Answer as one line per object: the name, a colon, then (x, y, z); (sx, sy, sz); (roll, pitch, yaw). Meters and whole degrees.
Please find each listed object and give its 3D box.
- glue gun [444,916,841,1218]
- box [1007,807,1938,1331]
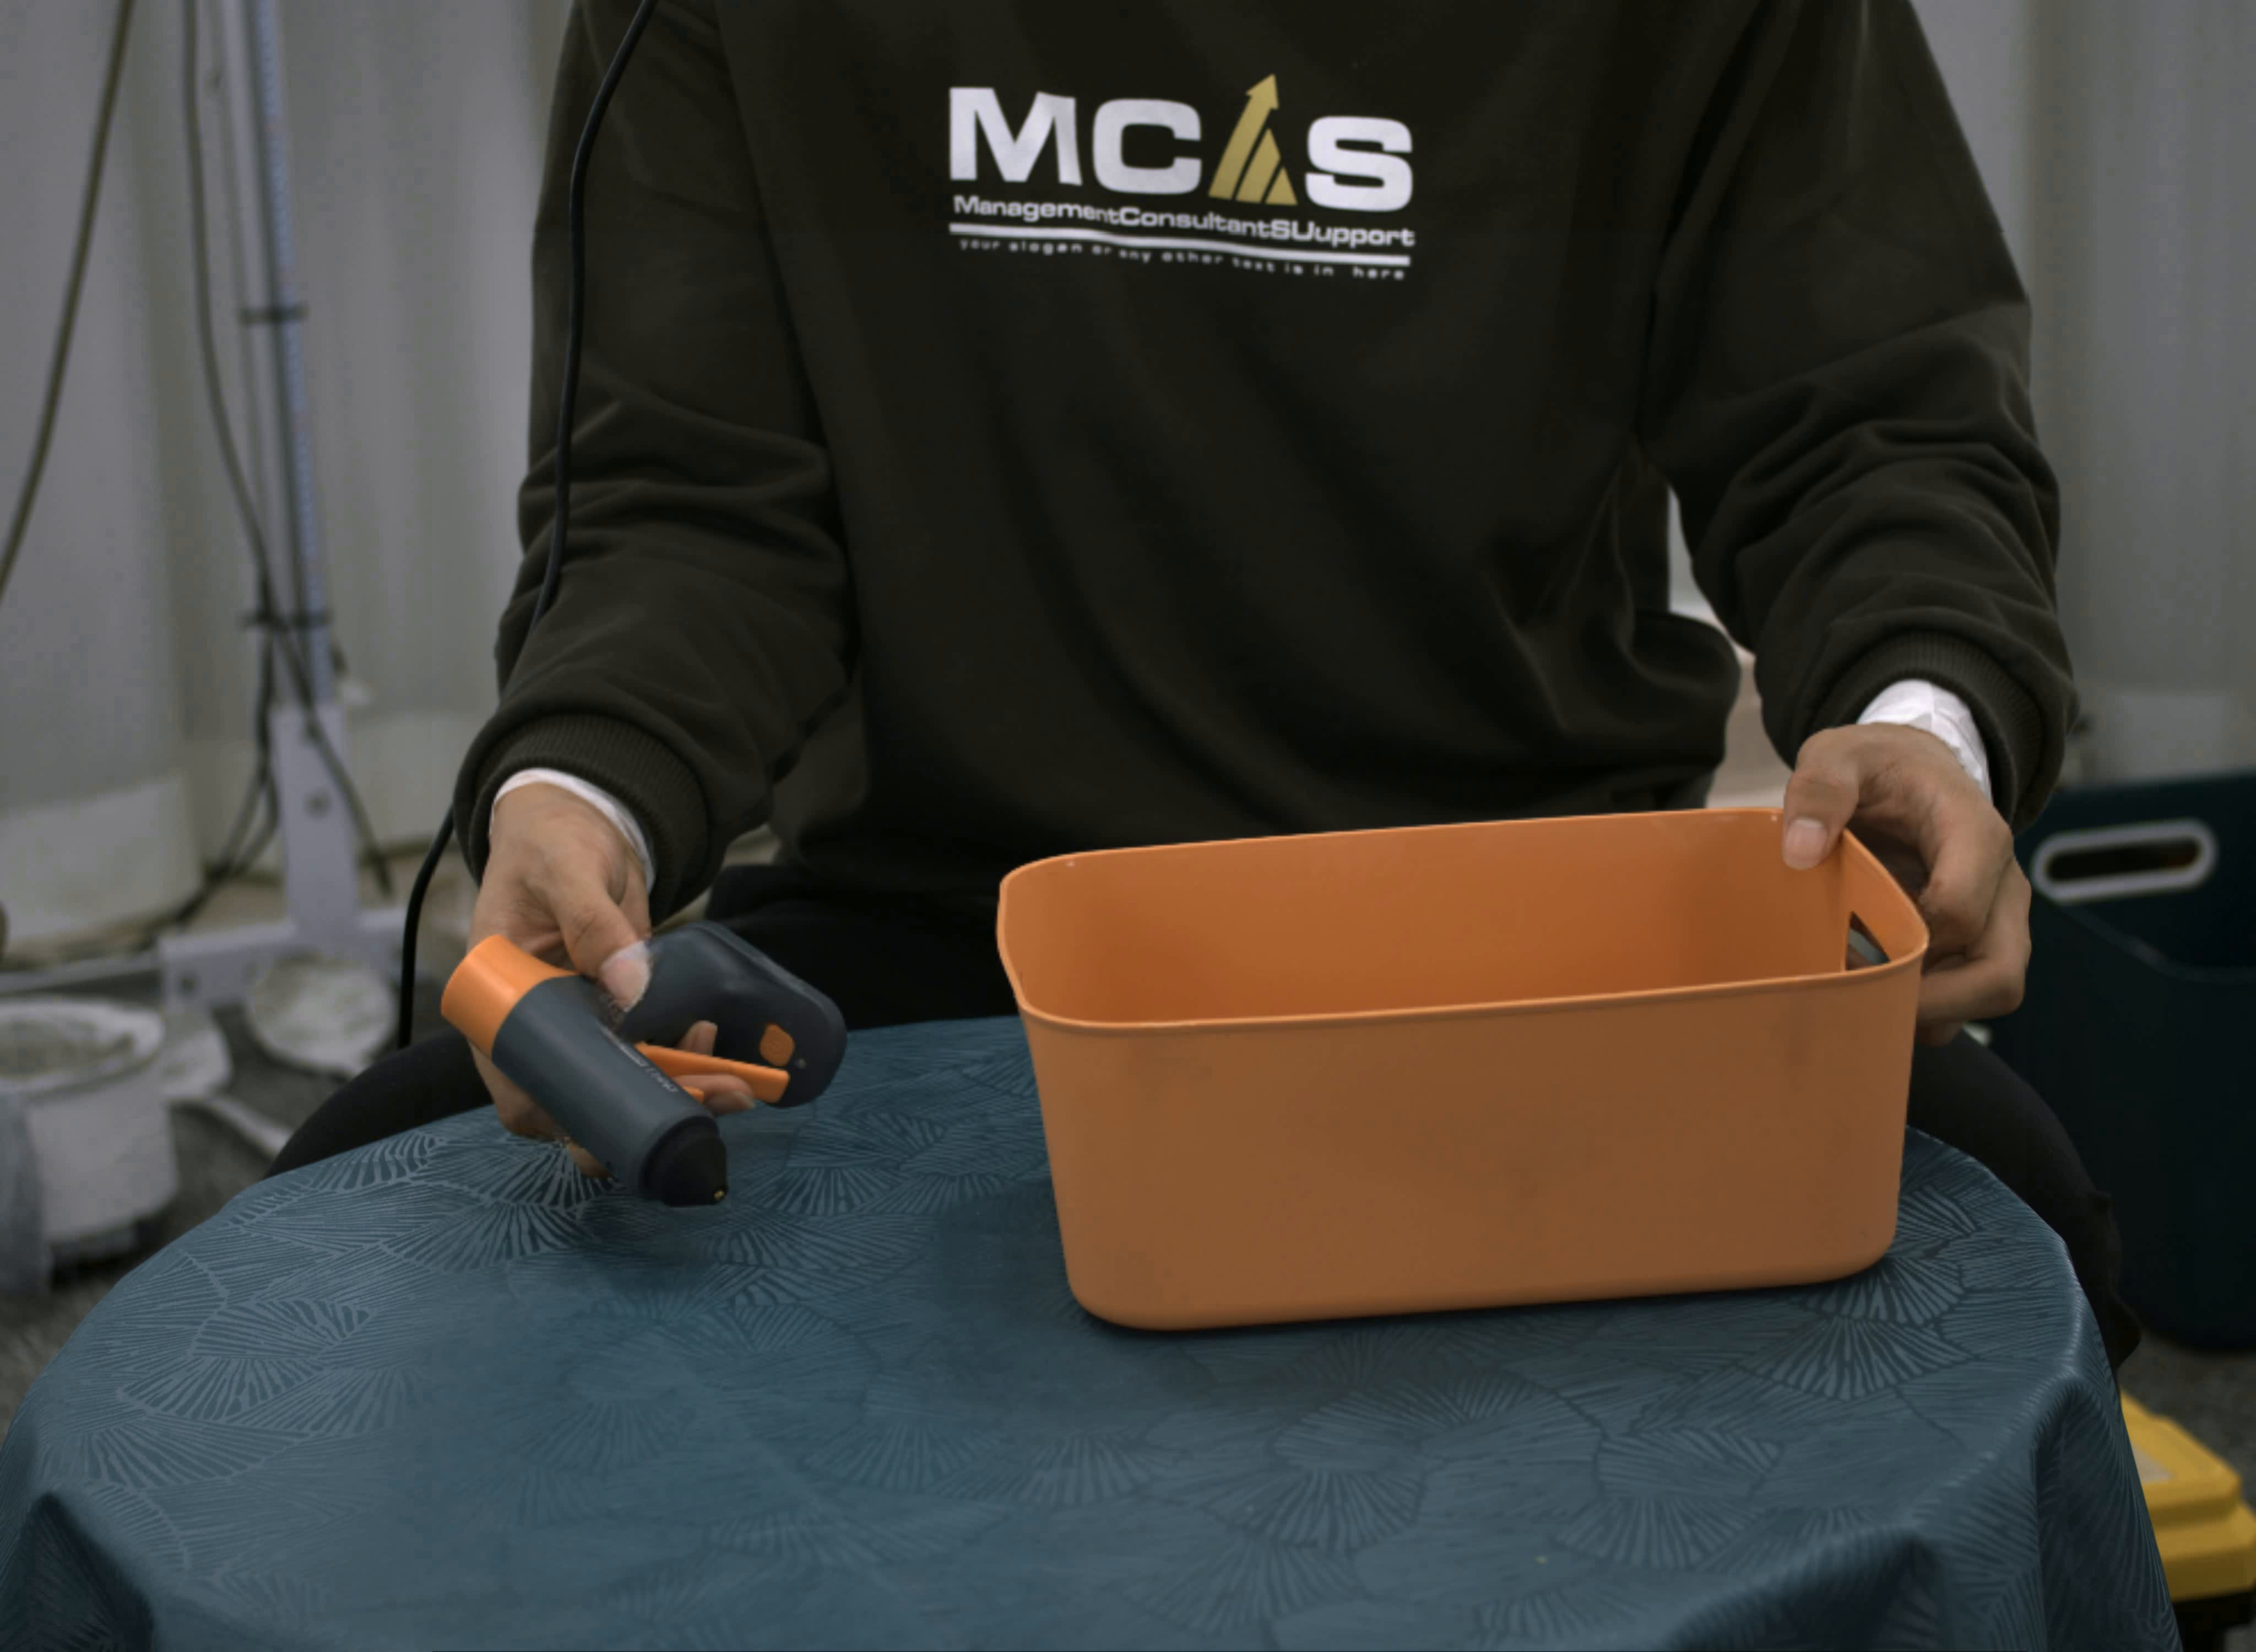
glue gun: (-0.147, 0.075, 1.728); (0.118, 0.041, 0.140); (36, 20, 15)
box: (0.101, 0.072, 1.658); (0.272, 0.102, 0.201); (-4, 15, -3)
